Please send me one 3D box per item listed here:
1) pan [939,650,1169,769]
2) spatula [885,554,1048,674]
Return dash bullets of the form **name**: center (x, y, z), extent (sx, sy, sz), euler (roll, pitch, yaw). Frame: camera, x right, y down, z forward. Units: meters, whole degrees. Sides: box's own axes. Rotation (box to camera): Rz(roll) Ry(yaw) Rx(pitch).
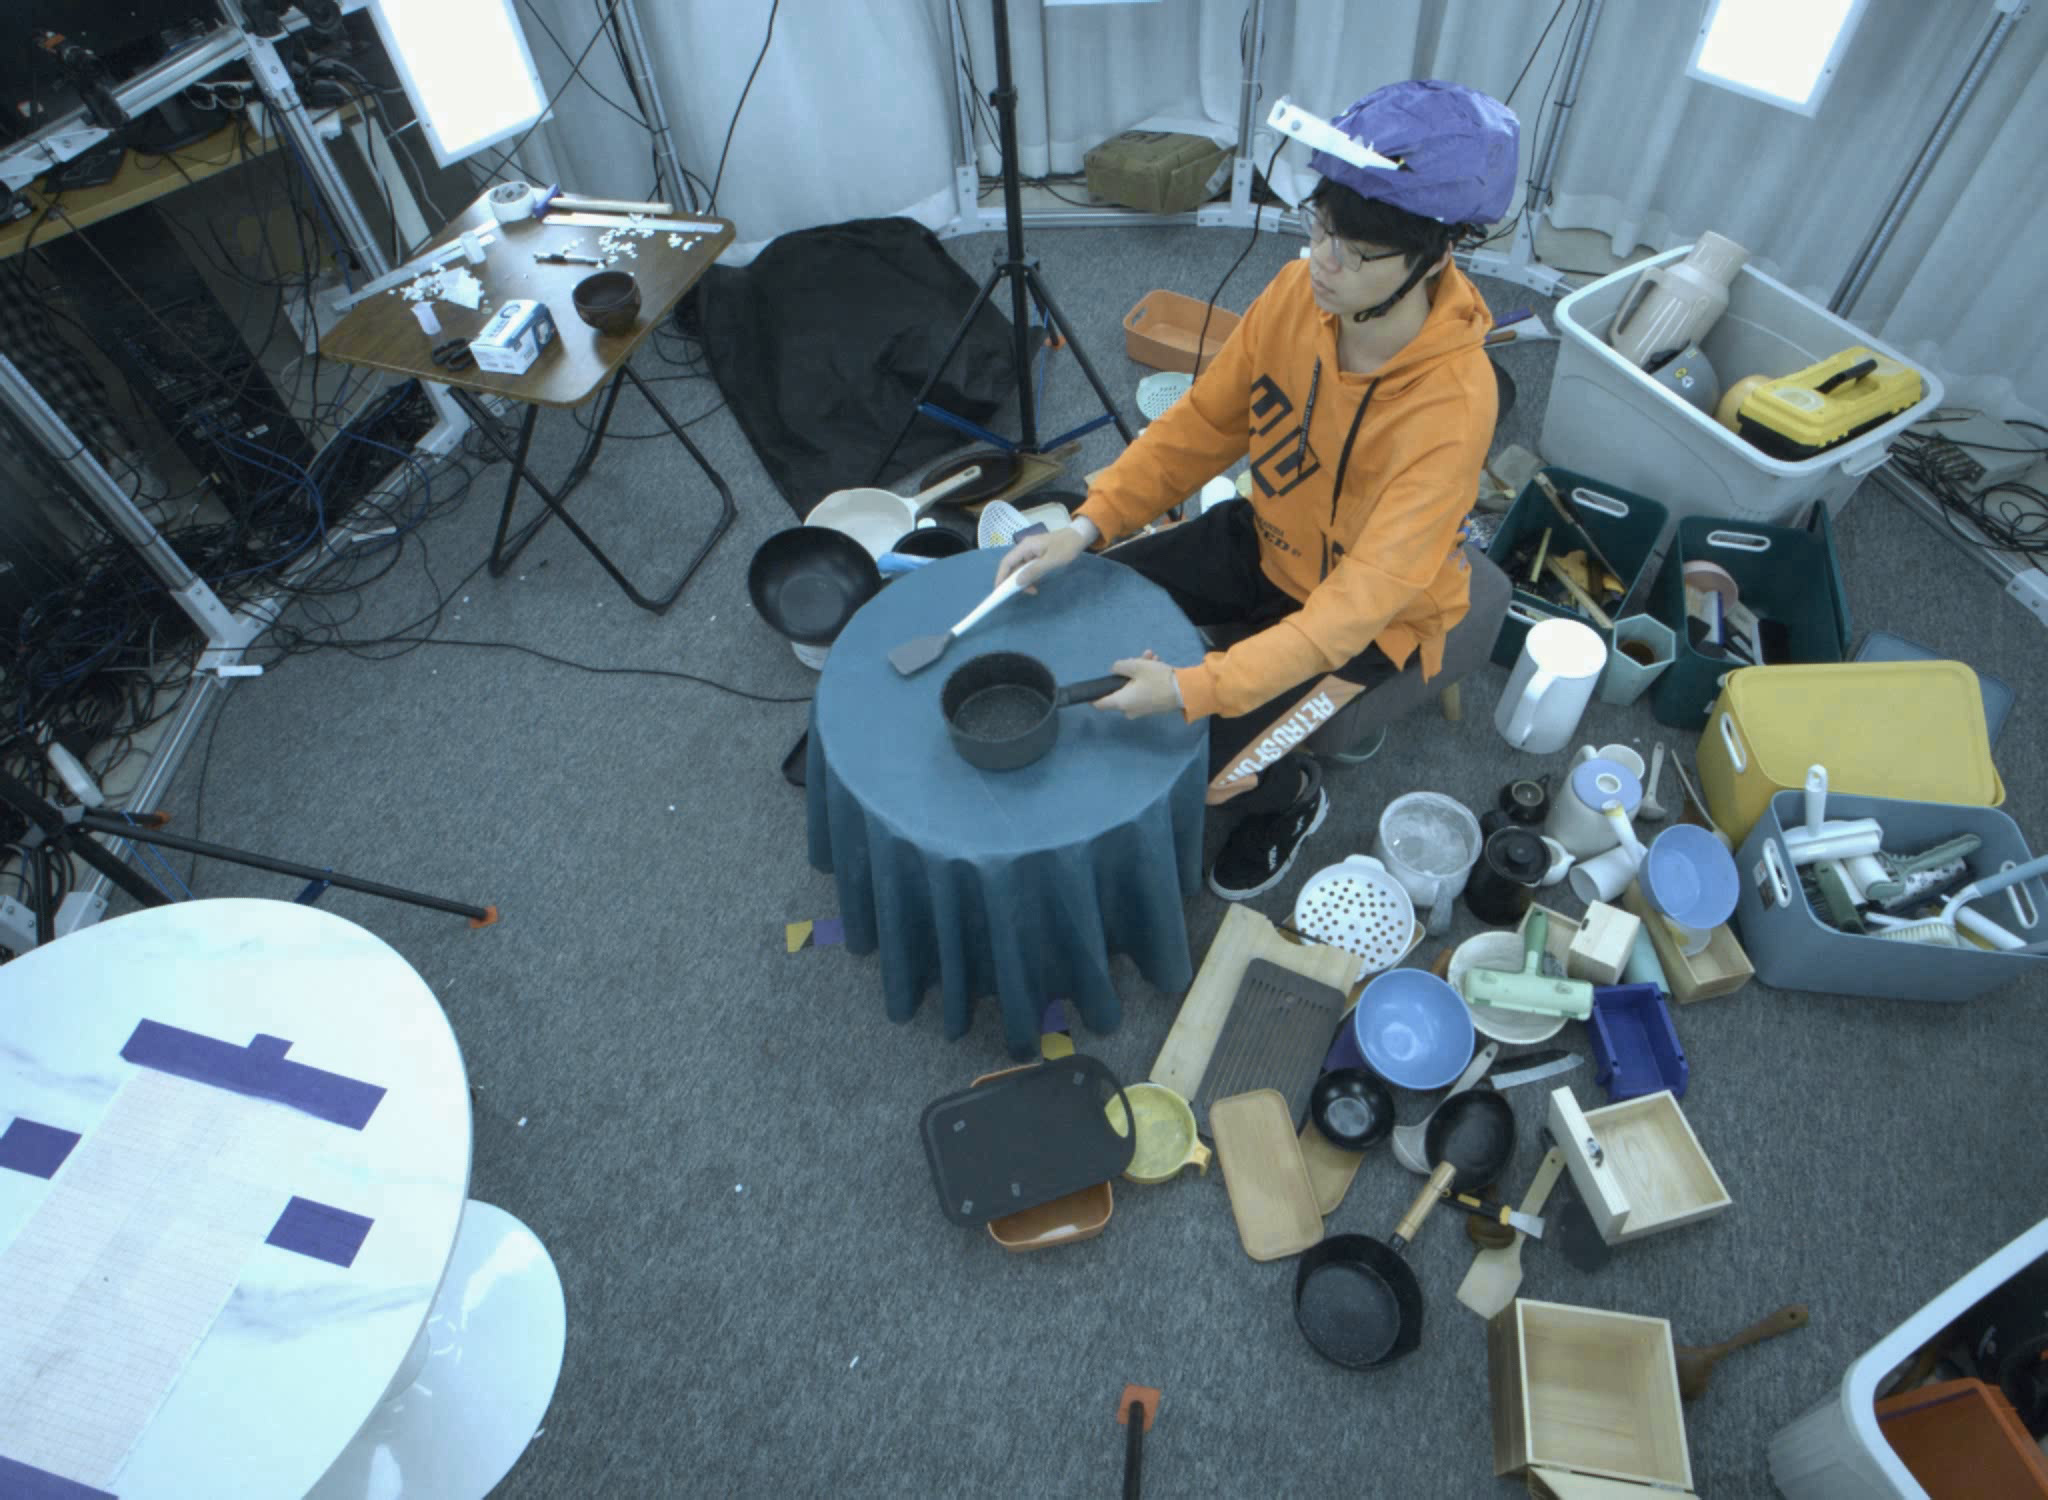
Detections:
- **pan**: center (0.046, -0.067, 1.773), extent (0.328, 0.087, 0.170), euler (-6, 53, 3)
- **spatula**: center (-0.086, -0.210, 1.896), extent (0.288, 0.032, 0.058), euler (-36, 68, -9)
